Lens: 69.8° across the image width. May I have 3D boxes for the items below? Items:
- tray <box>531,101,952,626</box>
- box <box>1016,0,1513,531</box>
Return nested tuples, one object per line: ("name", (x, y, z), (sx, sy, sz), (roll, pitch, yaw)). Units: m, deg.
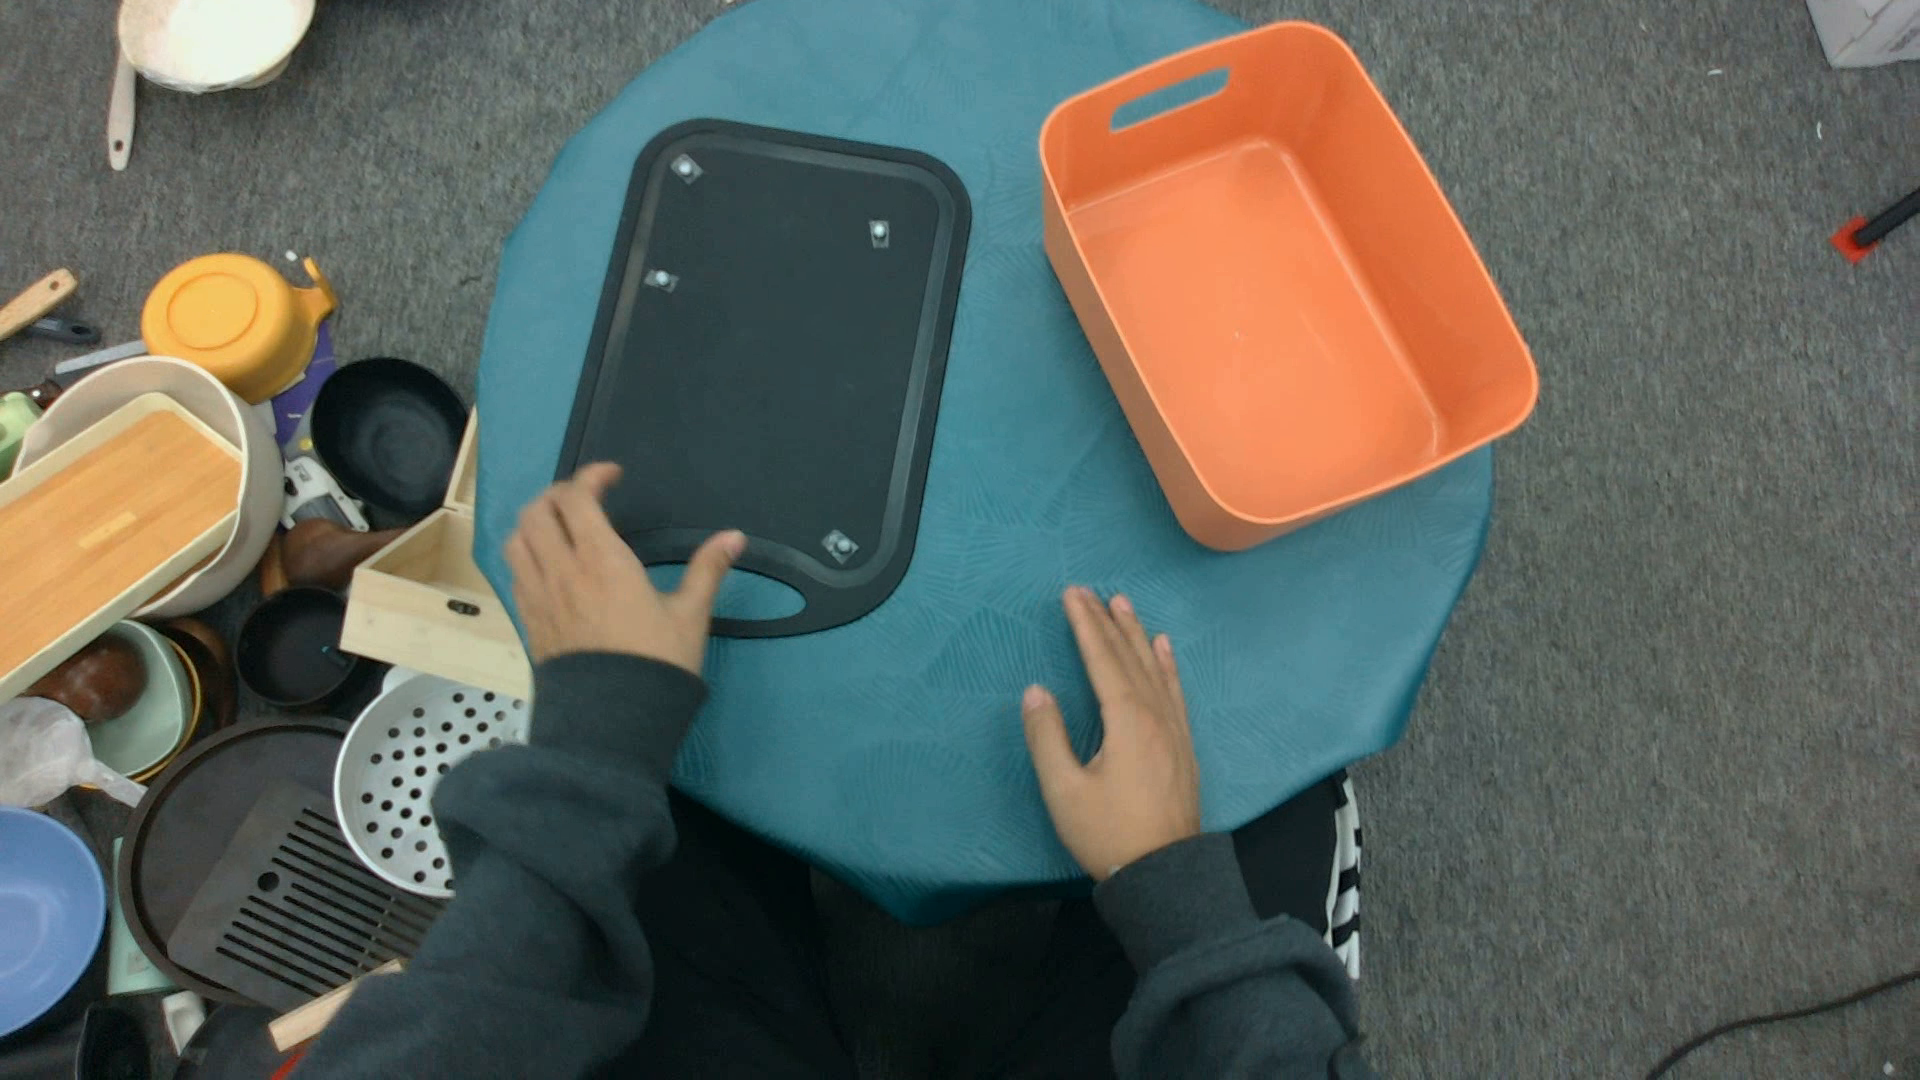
("tray", (-0.124, -0.109, 0.805), (0.211, 0.010, 0.326), (8, 73, 0))
("box", (0.157, -0.148, 0.779), (0.200, 0.102, 0.273), (-23, 75, -9))
